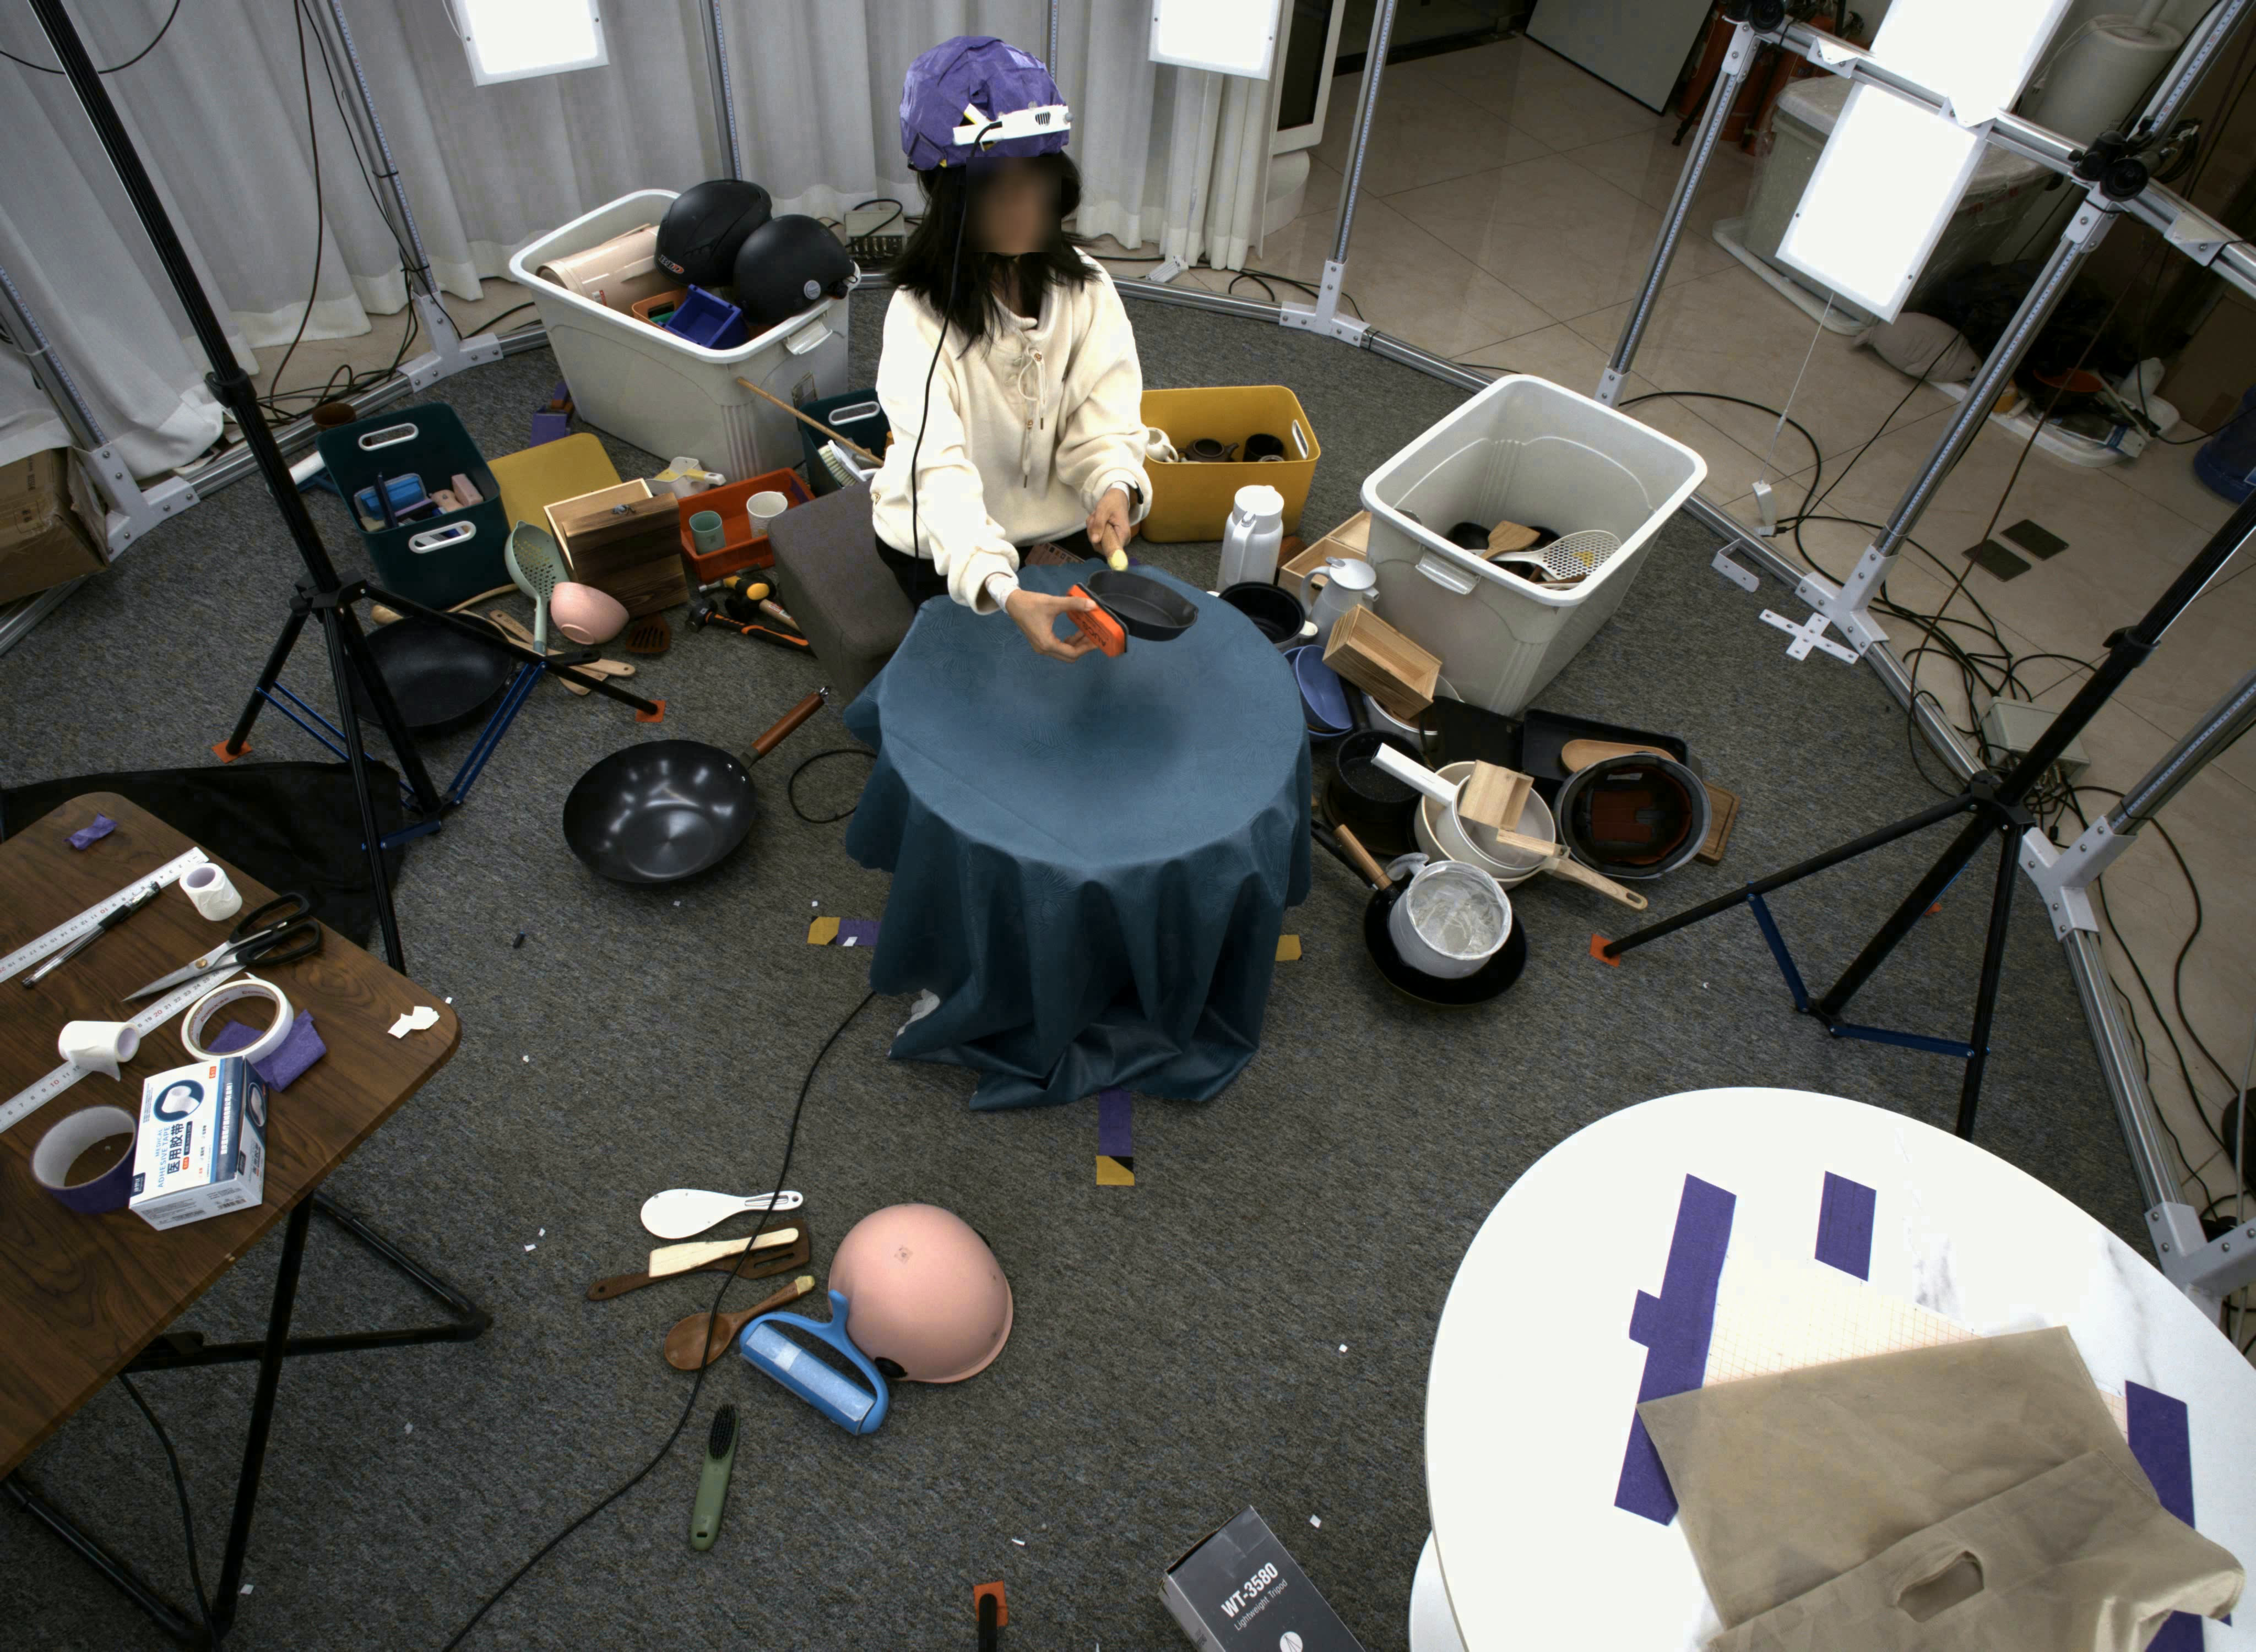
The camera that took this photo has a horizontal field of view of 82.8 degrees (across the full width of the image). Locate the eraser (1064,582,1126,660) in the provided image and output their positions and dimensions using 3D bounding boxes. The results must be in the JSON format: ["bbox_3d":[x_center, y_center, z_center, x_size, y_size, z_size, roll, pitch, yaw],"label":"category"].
[{"bbox_3d":[-0.044,-0.272,1.702,0.023,0.057,0.110,-33,62,-19],"label":"eraser"}]

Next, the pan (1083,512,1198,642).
[{"bbox_3d":[-0.005,-0.354,1.809,0.168,0.048,0.332,7,35,-22],"label":"pan"}]
